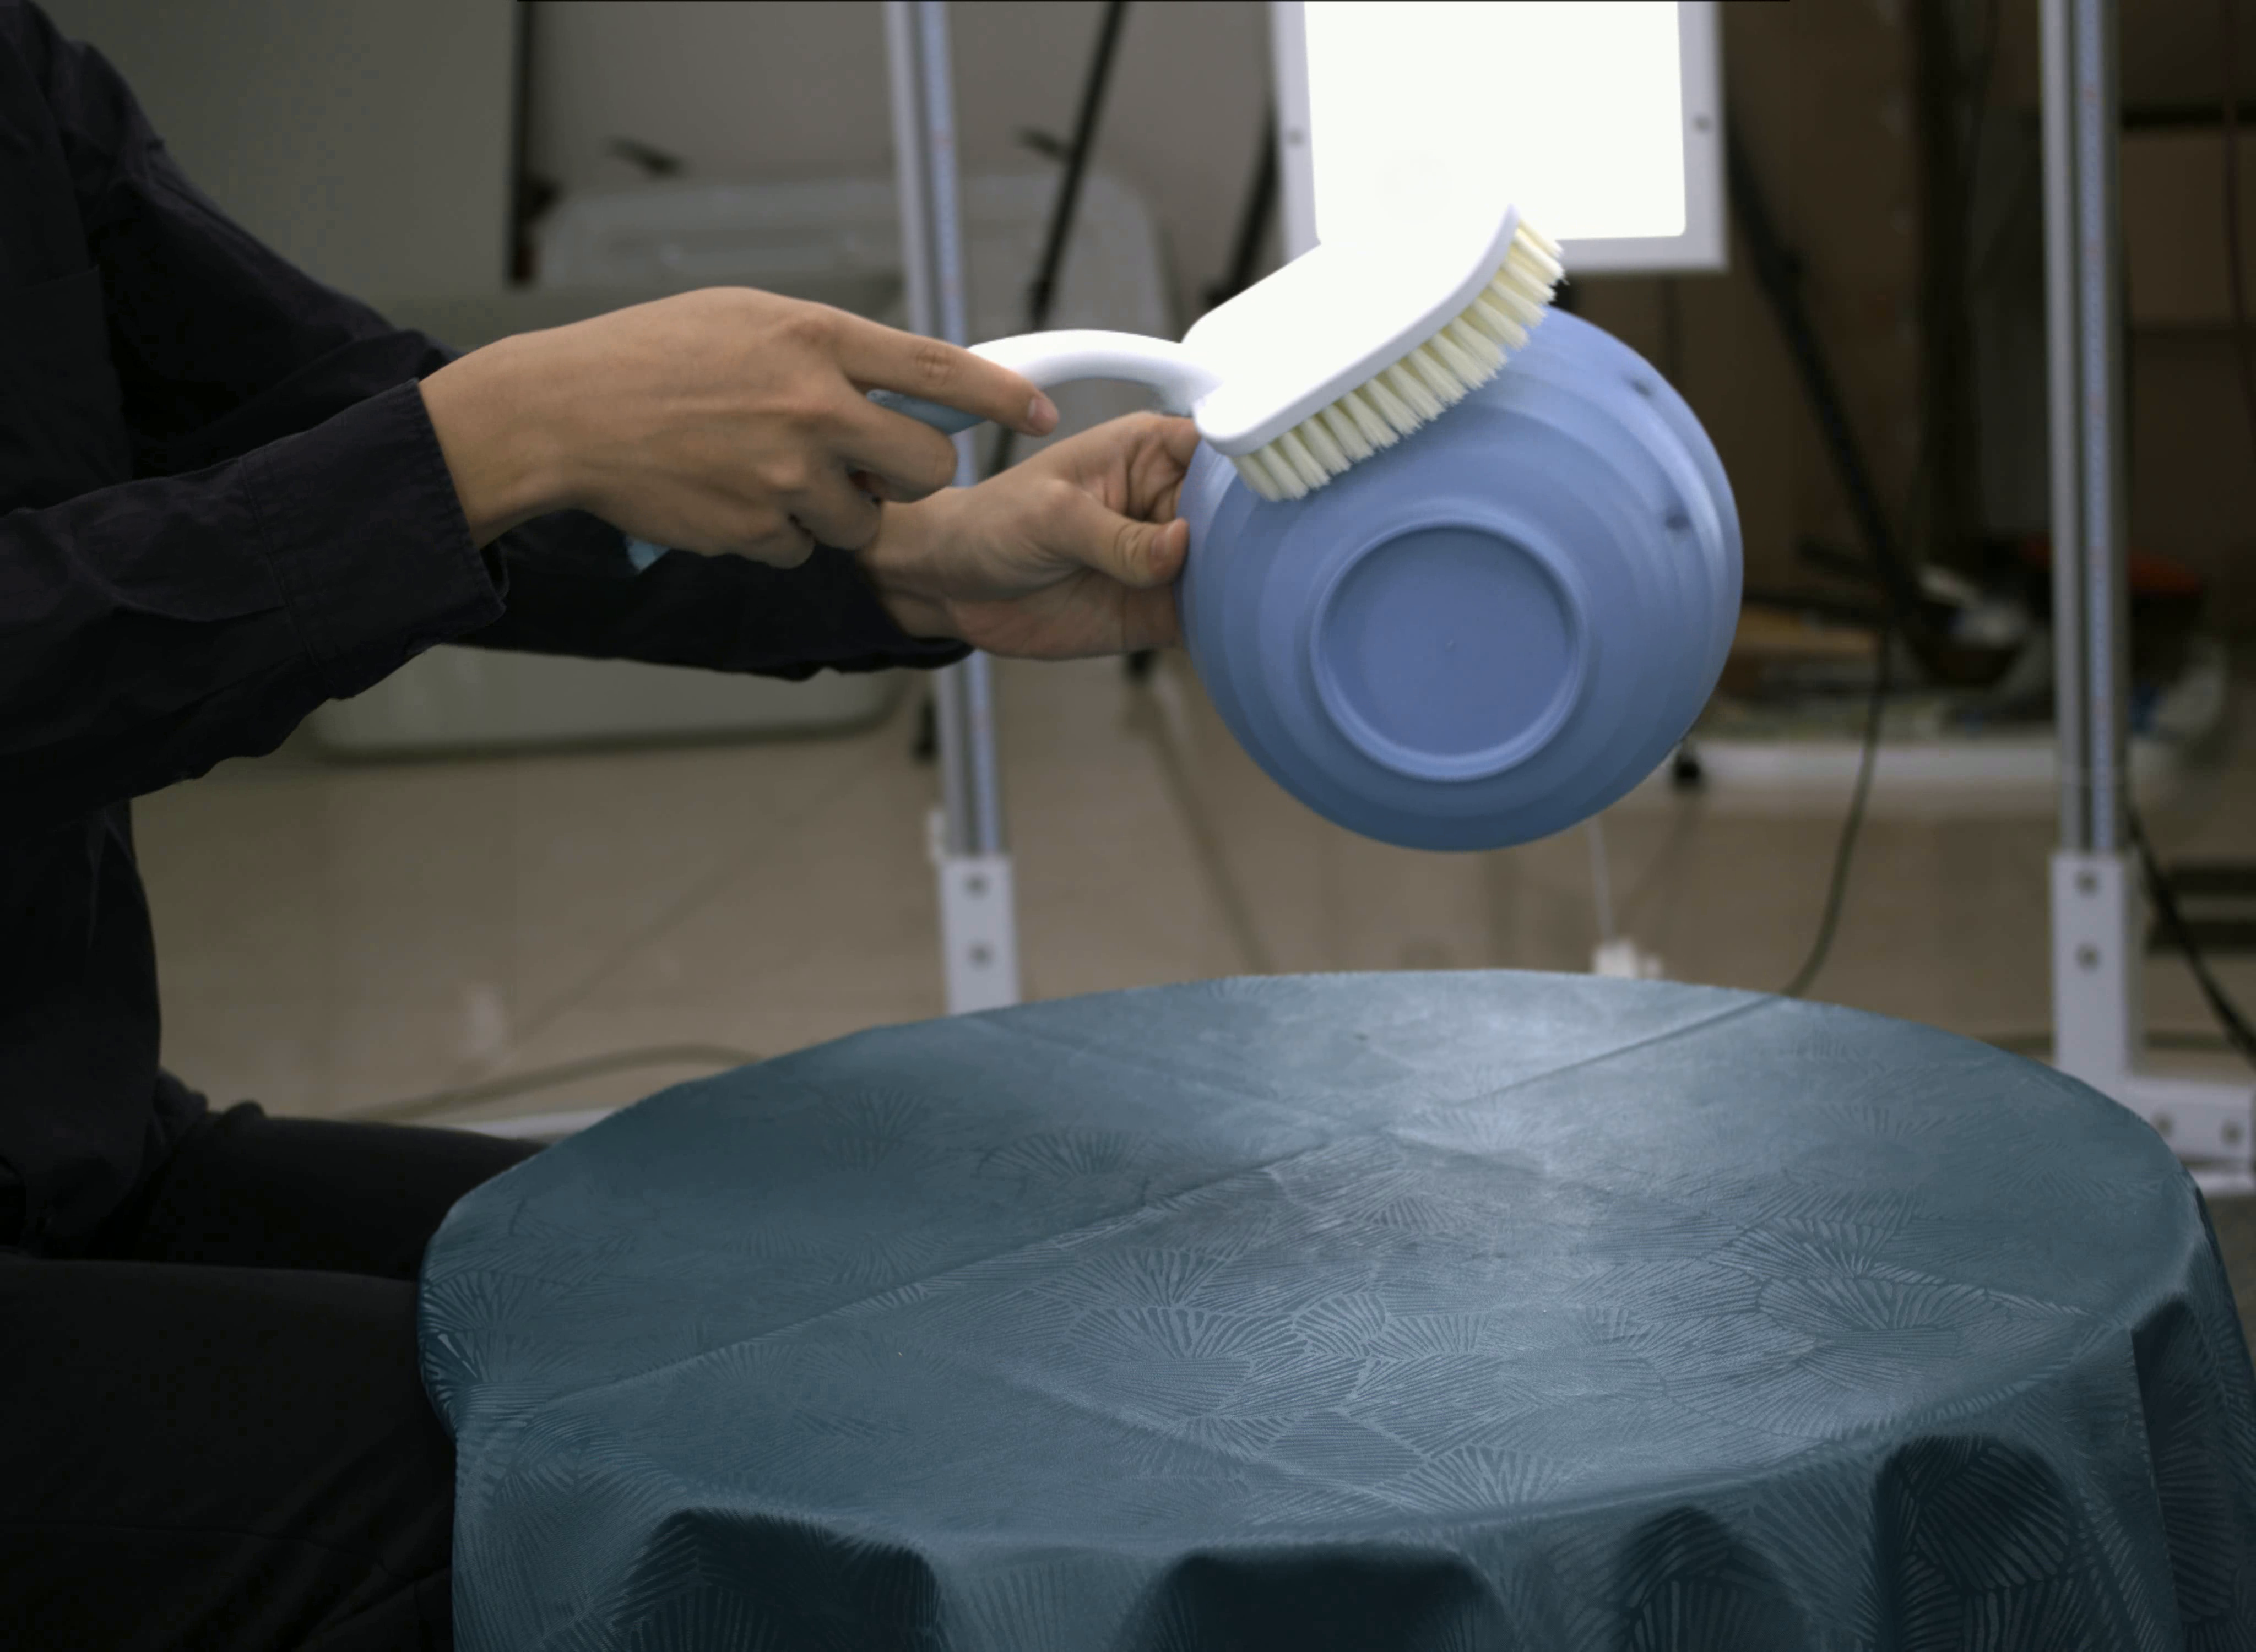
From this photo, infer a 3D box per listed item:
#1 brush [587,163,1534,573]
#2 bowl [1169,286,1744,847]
[{"bbox_3d":[-0.019,-0.130,1.805,0.327,0.084,0.082,-21,6,8],"label":"brush"},{"bbox_3d":[0.110,-0.075,1.831,0.197,0.197,0.095,-3,19,7],"label":"bowl"}]
